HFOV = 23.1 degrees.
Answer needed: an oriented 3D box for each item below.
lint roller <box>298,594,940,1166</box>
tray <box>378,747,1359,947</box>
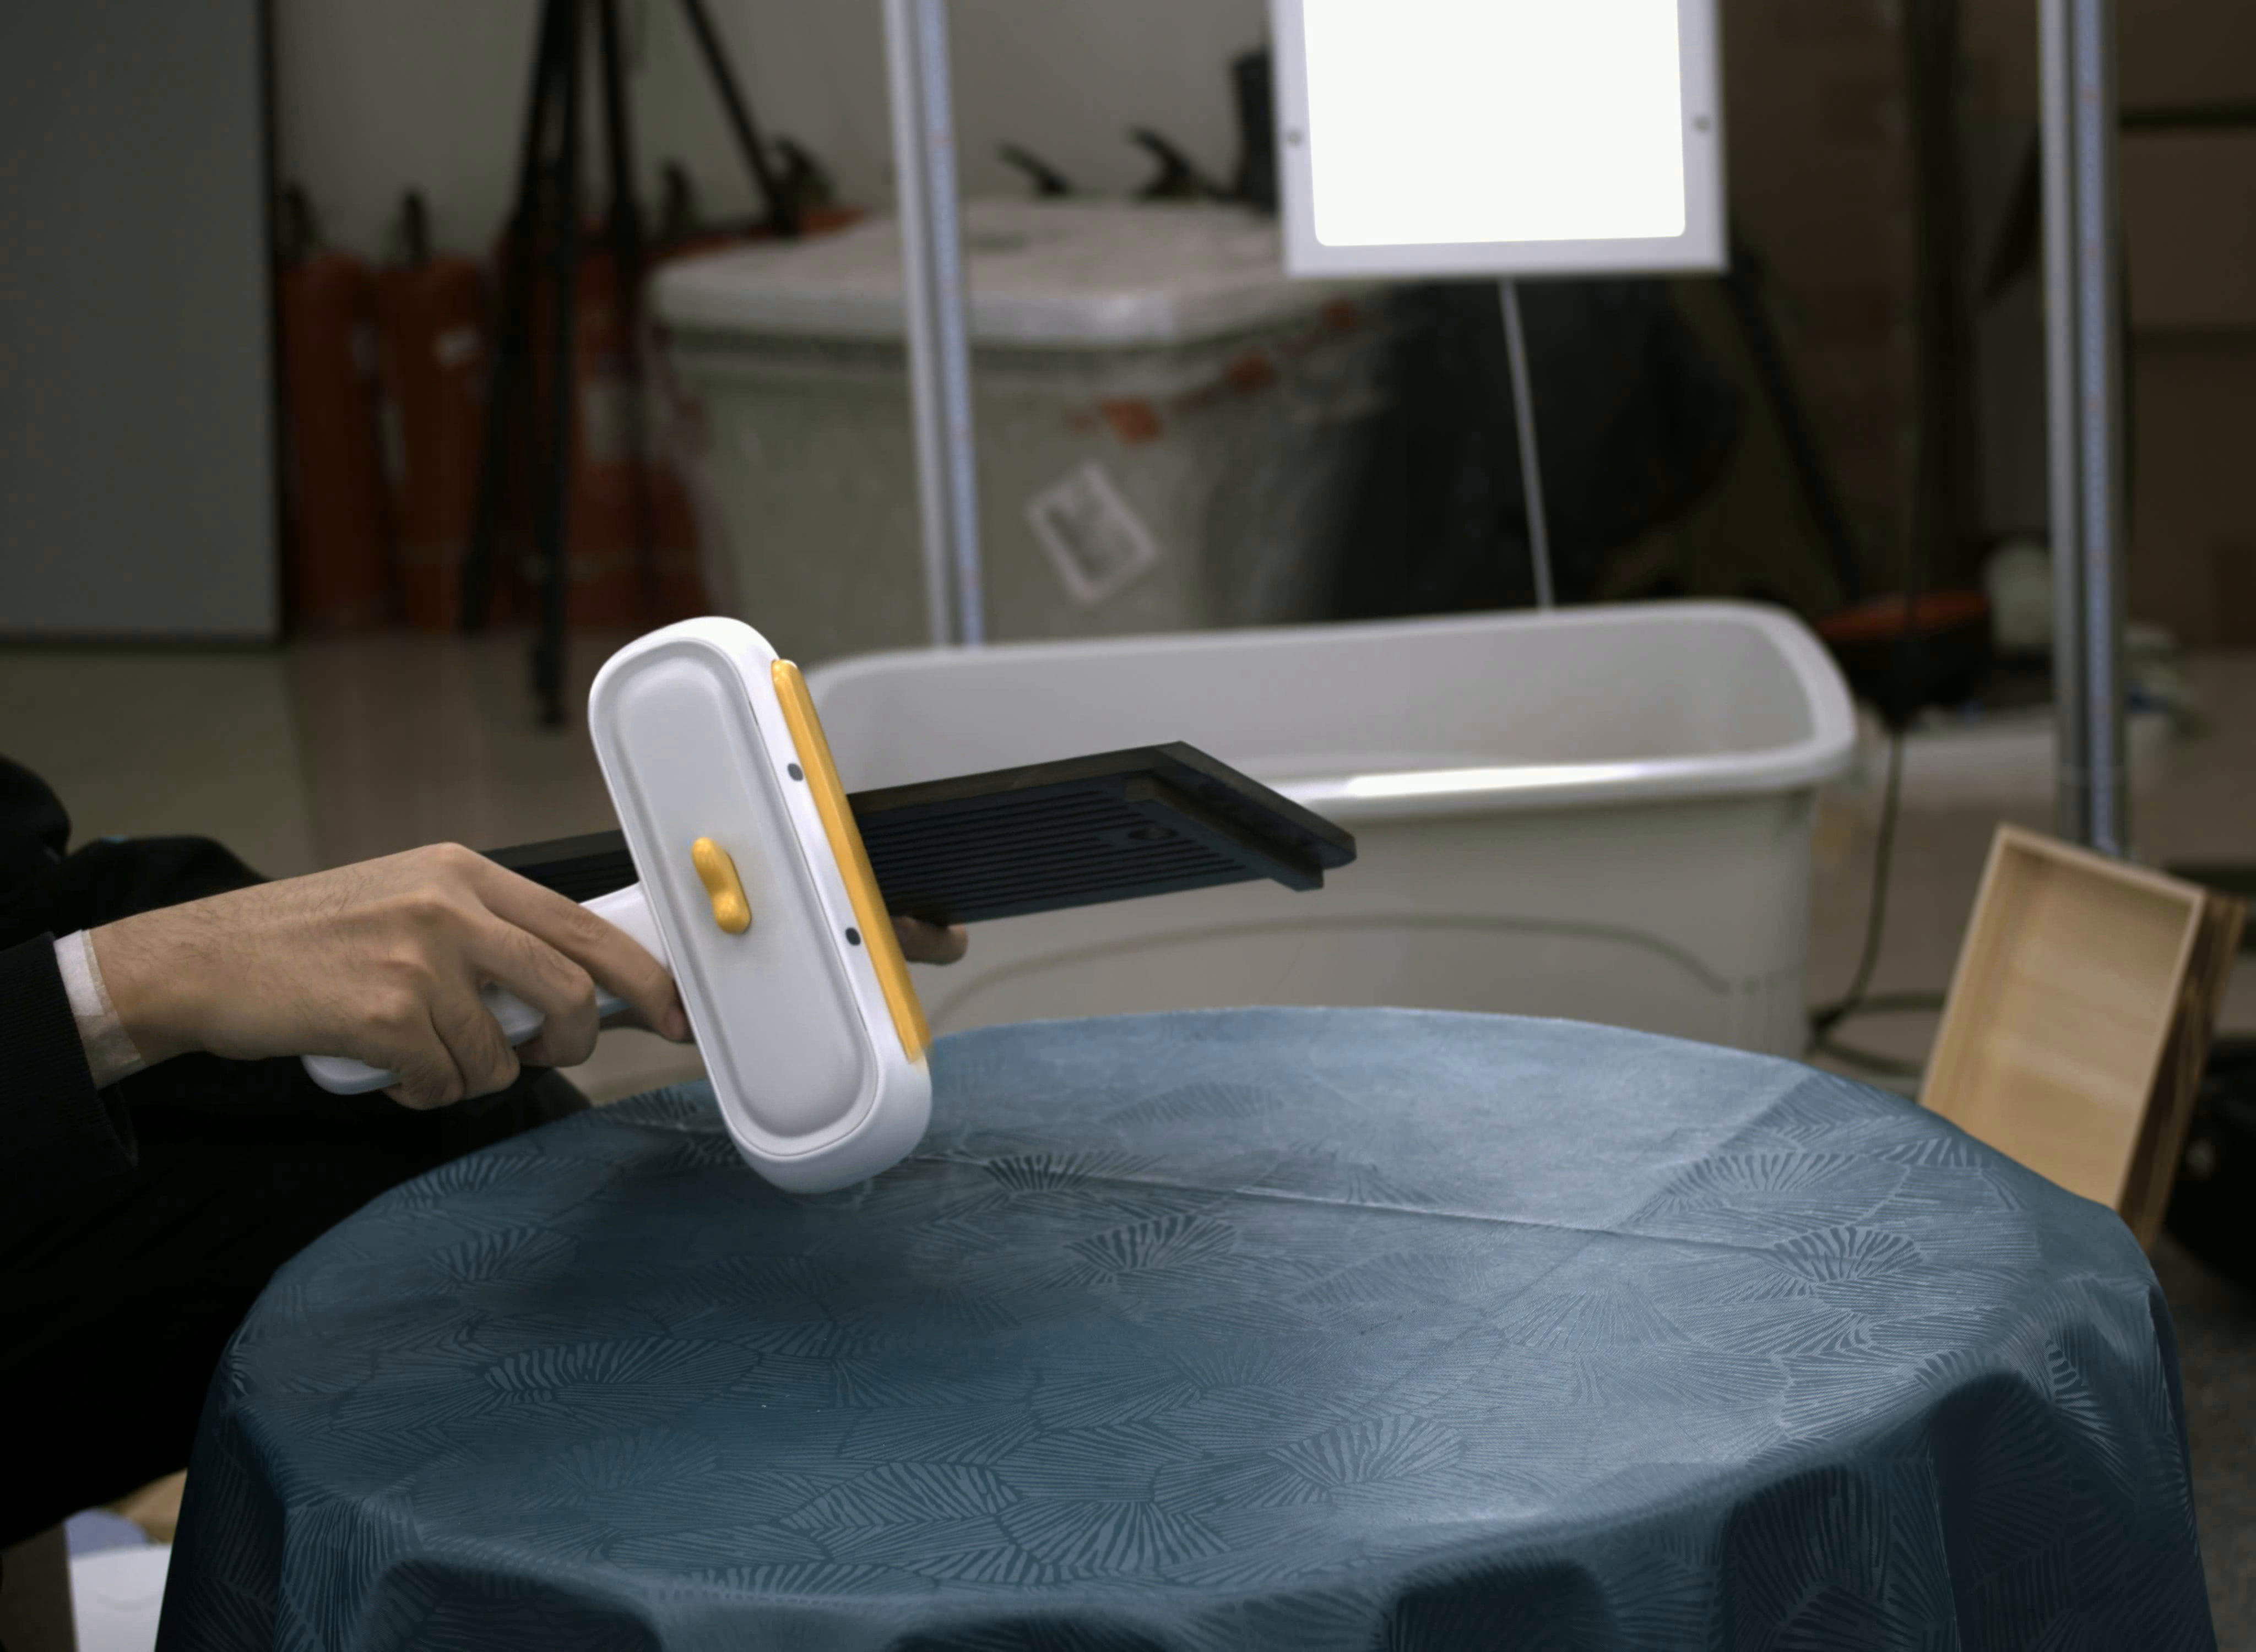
[{"bbox_3d":[-0.175,0.042,1.780,0.193,0.193,0.074,-26,-8,4],"label":"lint roller"},{"bbox_3d":[-0.088,0.019,1.890,0.311,0.018,0.167,-9,-15,24],"label":"tray"}]
